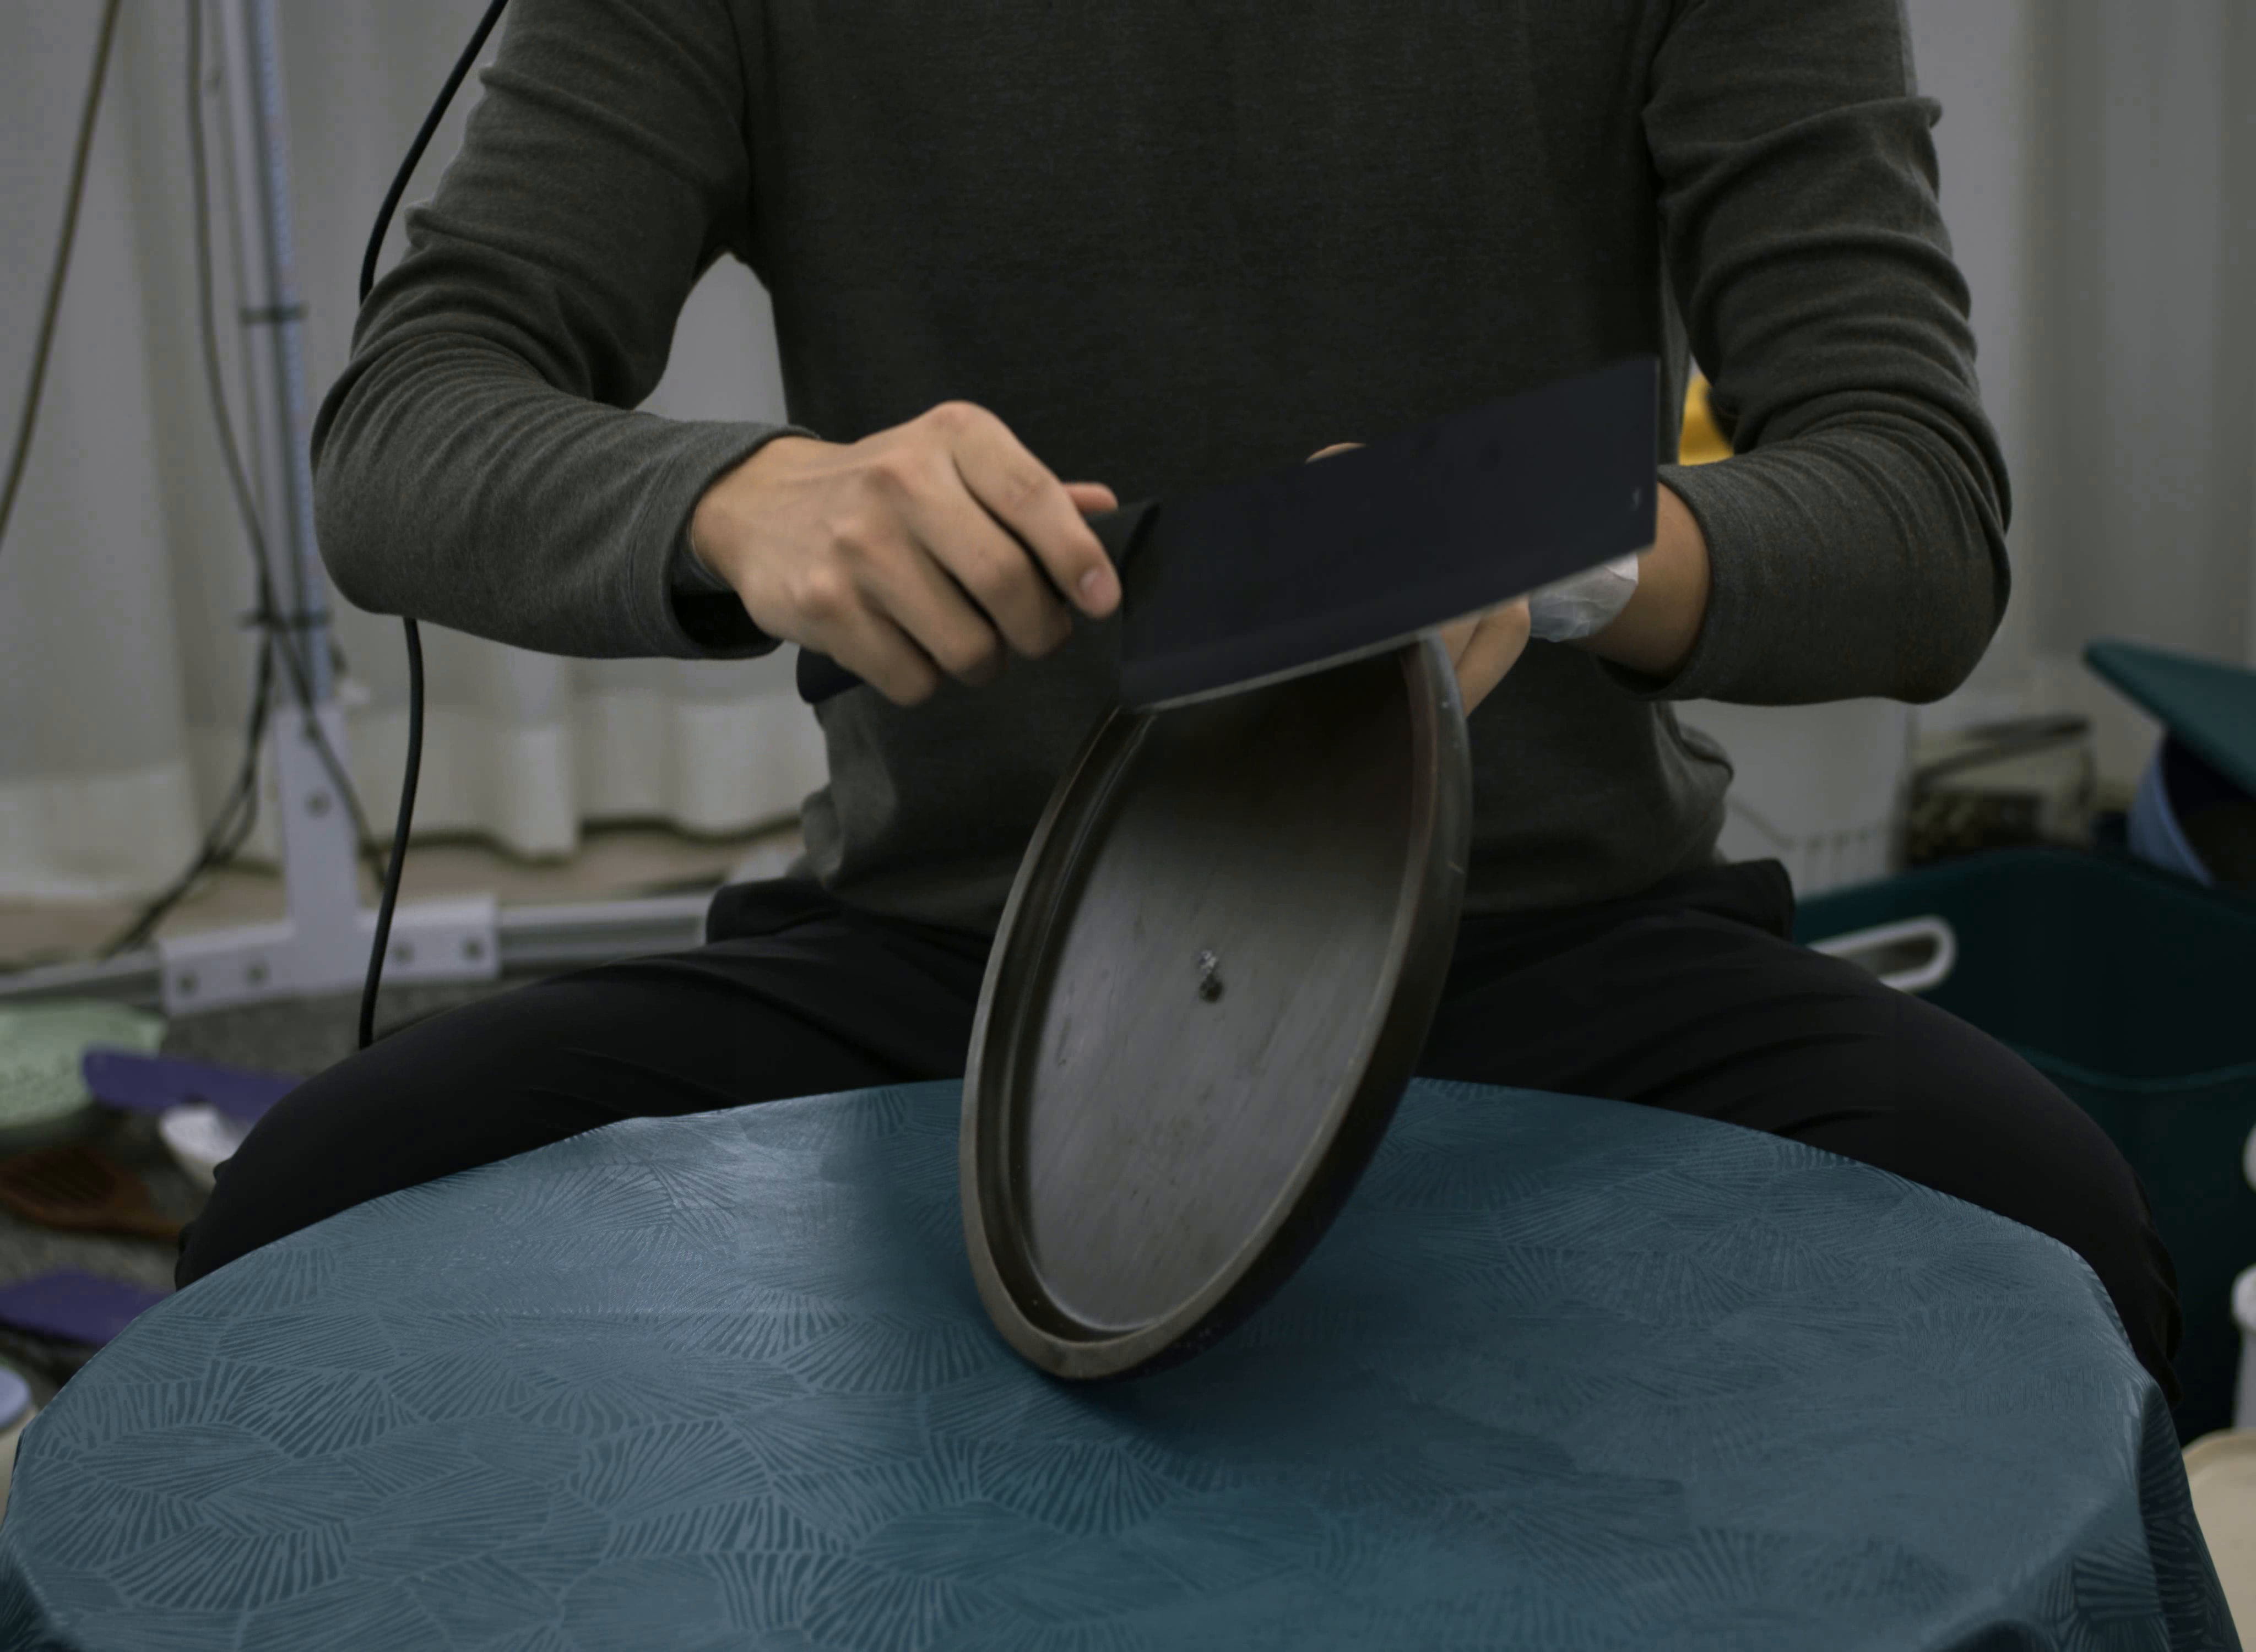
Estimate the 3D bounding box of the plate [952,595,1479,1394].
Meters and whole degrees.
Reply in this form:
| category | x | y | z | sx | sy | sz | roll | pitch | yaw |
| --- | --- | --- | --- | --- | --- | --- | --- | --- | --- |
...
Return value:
| category | x | y | z | sx | sy | sz | roll | pitch | yaw |
| --- | --- | --- | --- | --- | --- | --- | --- | --- | --- |
| plate | 0.023 | 0.041 | 1.569 | 0.029 | 0.255 | 0.257 | 20 | 4 | -26 |

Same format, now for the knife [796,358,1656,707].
| category | x | y | z | sx | sy | sz | roll | pitch | yaw |
| --- | --- | --- | --- | --- | --- | --- | --- | --- | --- |
| knife | 0.023 | -0.071 | 1.559 | 0.302 | 0.082 | 0.020 | -10 | -29 | 37 |
